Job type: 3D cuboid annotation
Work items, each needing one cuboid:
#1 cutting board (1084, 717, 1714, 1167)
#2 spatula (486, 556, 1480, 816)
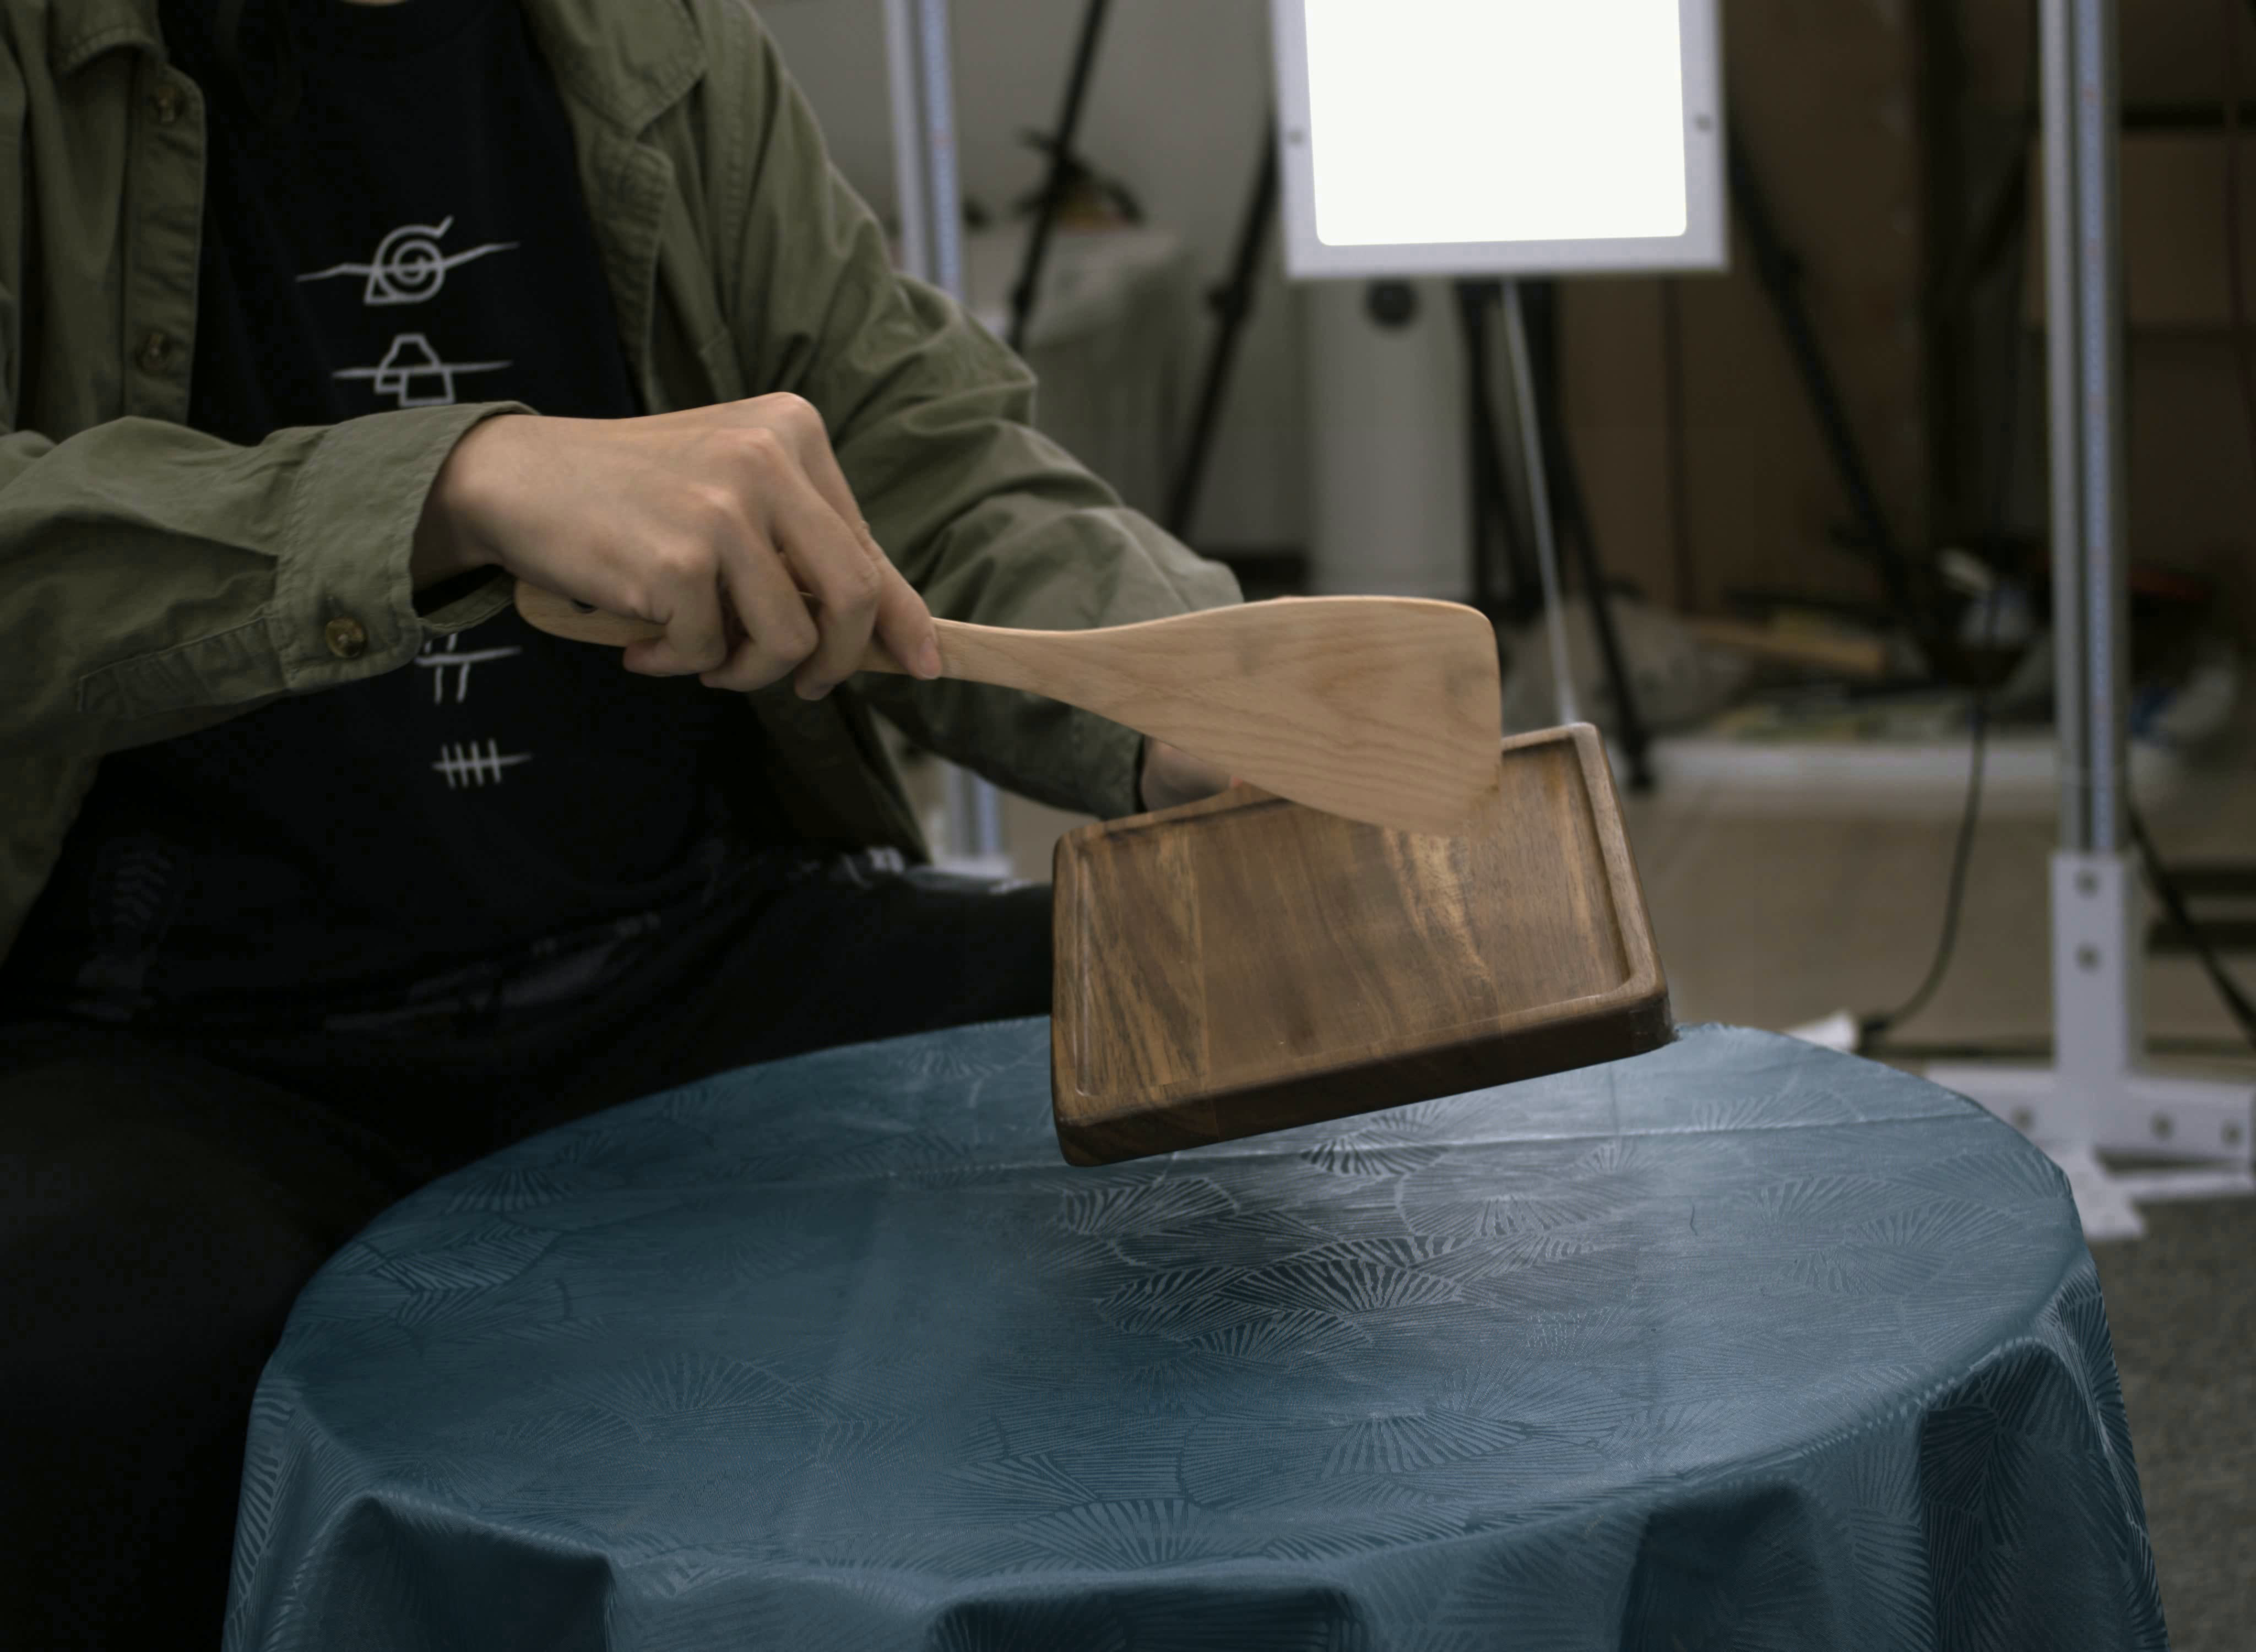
[{"bbox_3d":[0.084,0.015,1.857,0.202,0.023,0.350,-12,21,6],"label":"cutting board"},{"bbox_3d":[-0.044,-0.058,1.778,0.326,0.080,0.016,6,19,-1],"label":"spatula"}]
